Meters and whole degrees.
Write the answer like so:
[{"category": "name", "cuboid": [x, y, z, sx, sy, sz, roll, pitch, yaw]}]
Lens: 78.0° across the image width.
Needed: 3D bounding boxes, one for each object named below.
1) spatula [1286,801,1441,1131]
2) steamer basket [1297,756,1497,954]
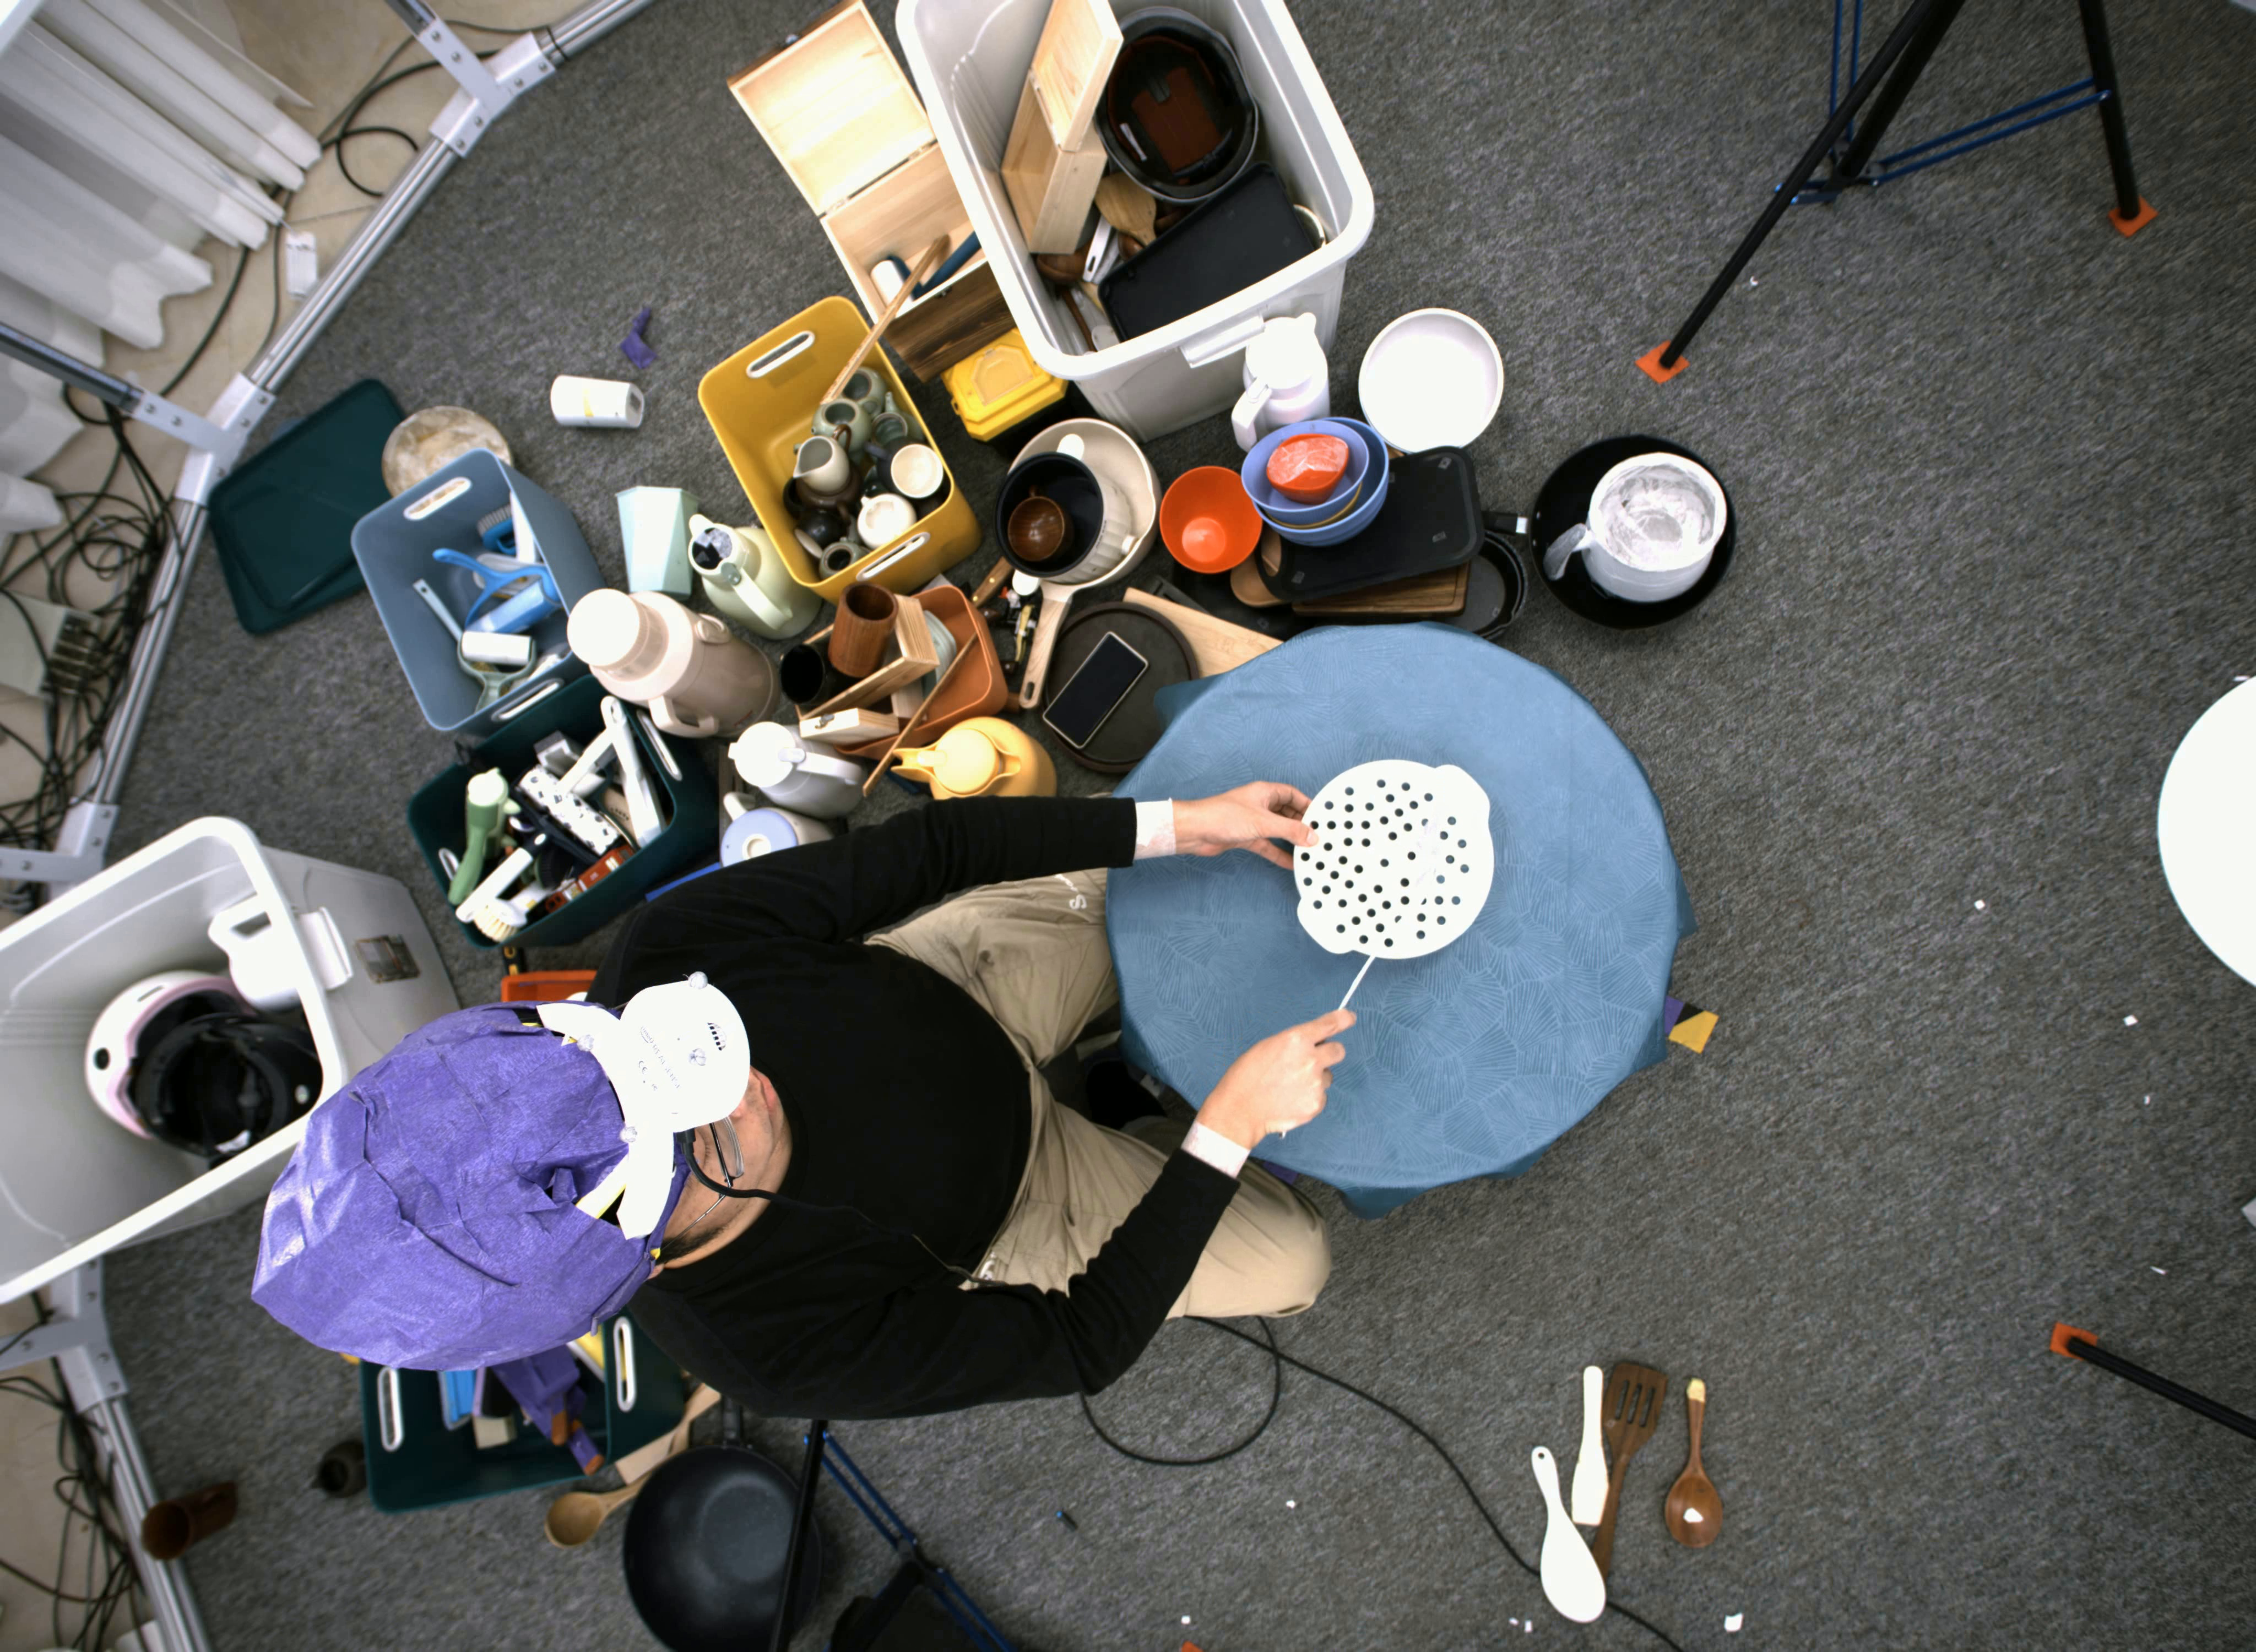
[{"category": "spatula", "cuboid": [0.229, 0.131, 1.345, 0.044, 0.100, 0.359, 33, 70, 8]}, {"category": "steamer basket", "cuboid": [0.272, 0.030, 1.417, 0.230, 0.069, 0.201, -43, 86, 0]}]
